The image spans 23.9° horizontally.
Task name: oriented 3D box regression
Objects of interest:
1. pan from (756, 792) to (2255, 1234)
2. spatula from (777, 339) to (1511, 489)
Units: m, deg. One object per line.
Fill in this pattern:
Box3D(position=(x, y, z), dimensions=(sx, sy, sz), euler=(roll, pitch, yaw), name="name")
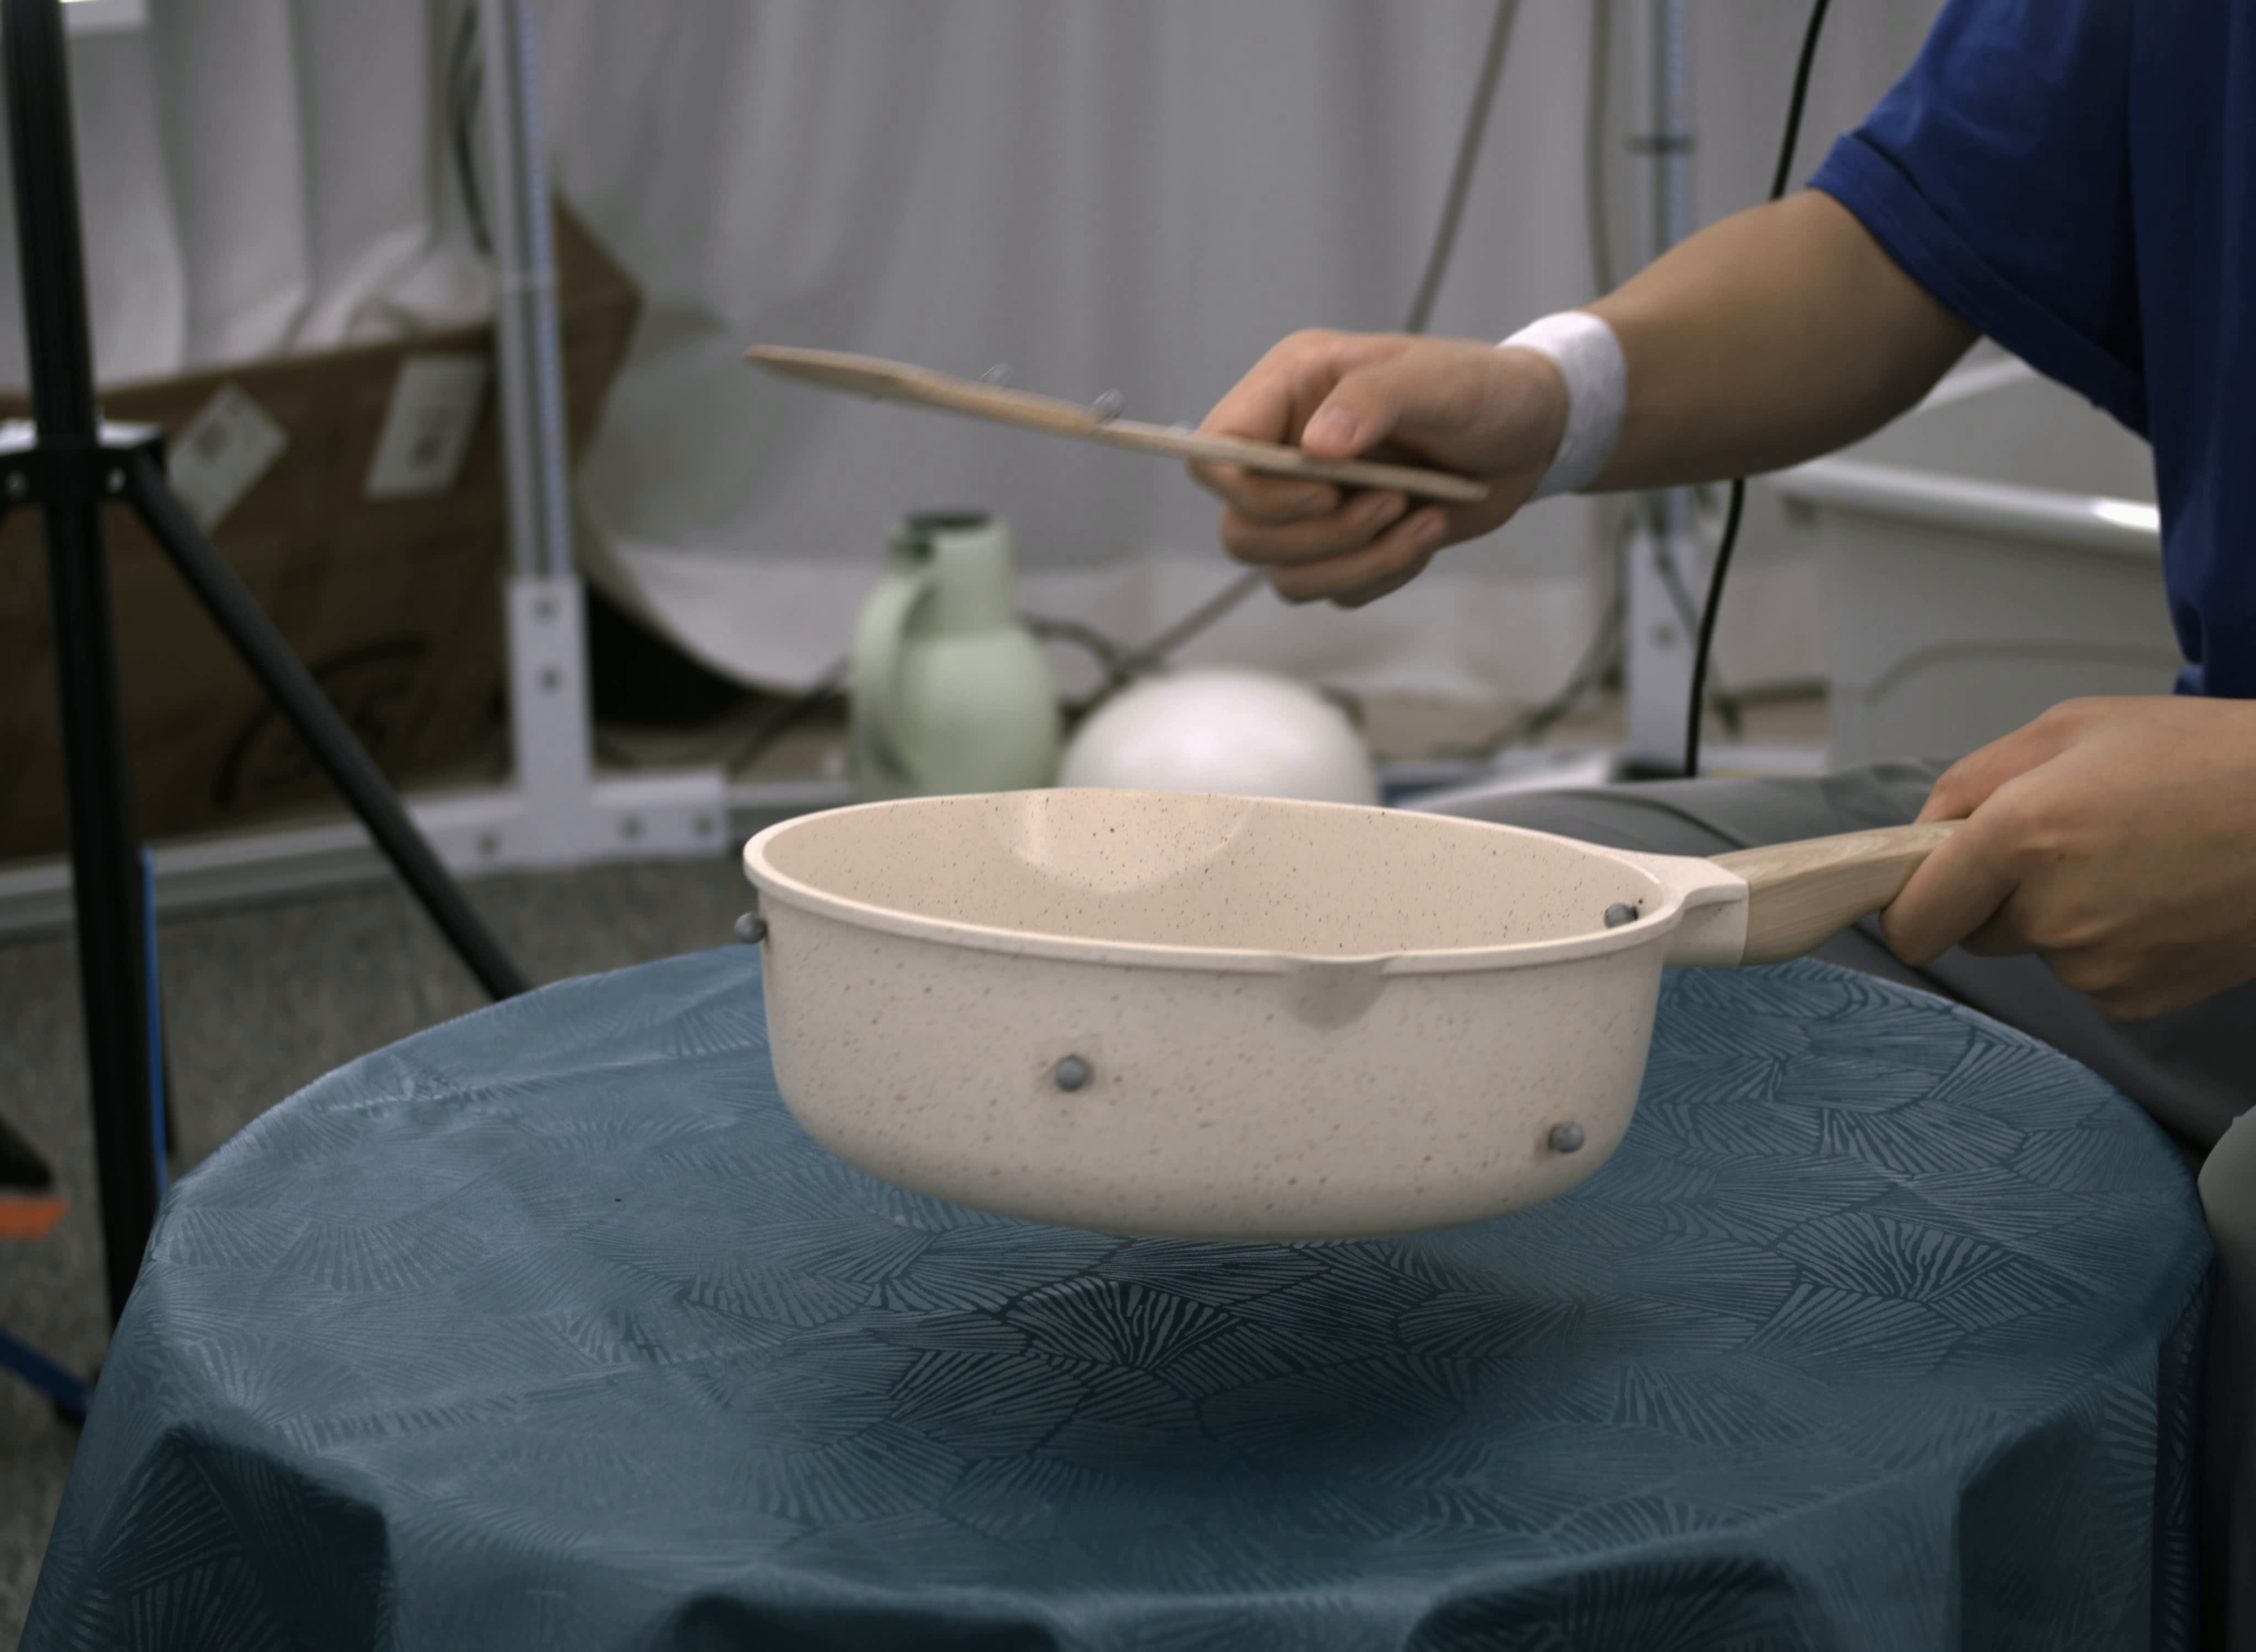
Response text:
Box3D(position=(0.113, 0.042, 1.429), dimensions=(0.428, 0.102, 0.266), euler=(1, 8, -13), name="pan")
Box3D(position=(0.017, -0.121, 1.612), dimensions=(0.074, 0.011, 0.285), euler=(11, 4, 44), name="spatula")
